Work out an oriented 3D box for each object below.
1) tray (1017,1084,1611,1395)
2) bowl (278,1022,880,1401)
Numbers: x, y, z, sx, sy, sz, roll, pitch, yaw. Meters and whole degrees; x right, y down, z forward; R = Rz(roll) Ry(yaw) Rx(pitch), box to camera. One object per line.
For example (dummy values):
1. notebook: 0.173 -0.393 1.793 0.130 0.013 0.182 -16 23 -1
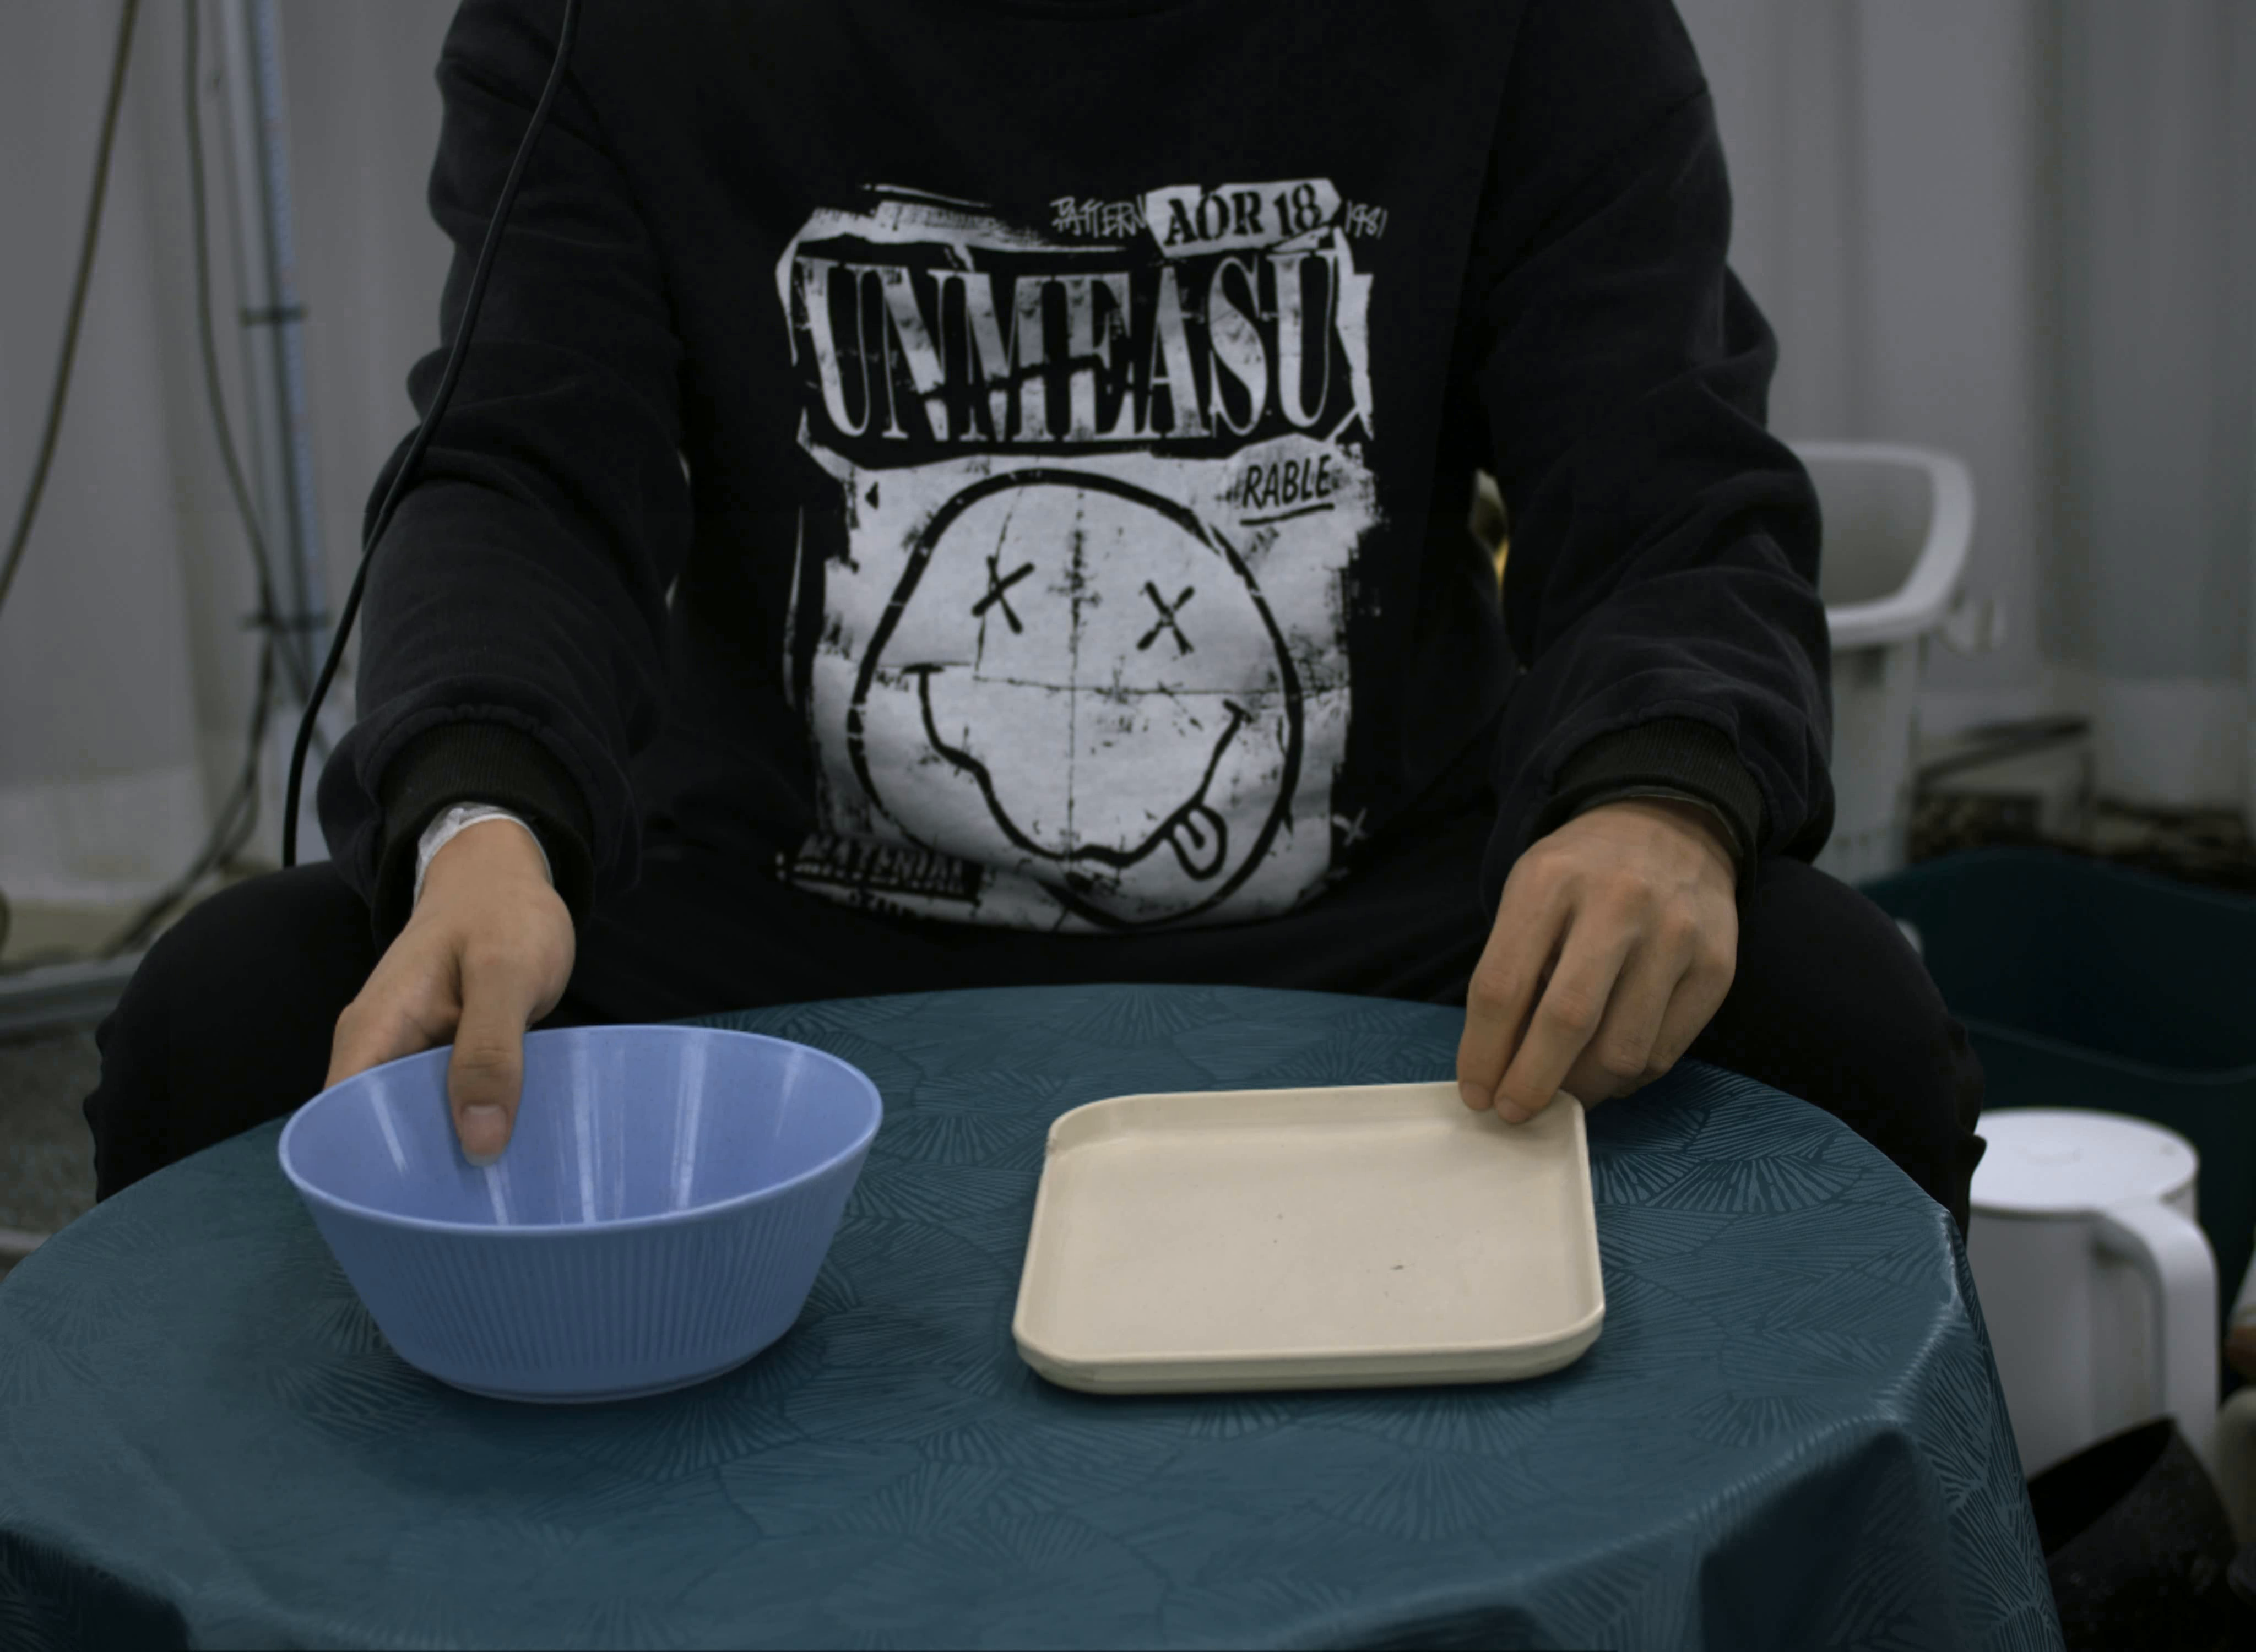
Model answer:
1. tray: 0.056 0.123 1.639 0.171 0.017 0.241 -1 15 3
2. bowl: -0.158 0.116 1.600 0.175 0.070 0.177 -2 17 0
